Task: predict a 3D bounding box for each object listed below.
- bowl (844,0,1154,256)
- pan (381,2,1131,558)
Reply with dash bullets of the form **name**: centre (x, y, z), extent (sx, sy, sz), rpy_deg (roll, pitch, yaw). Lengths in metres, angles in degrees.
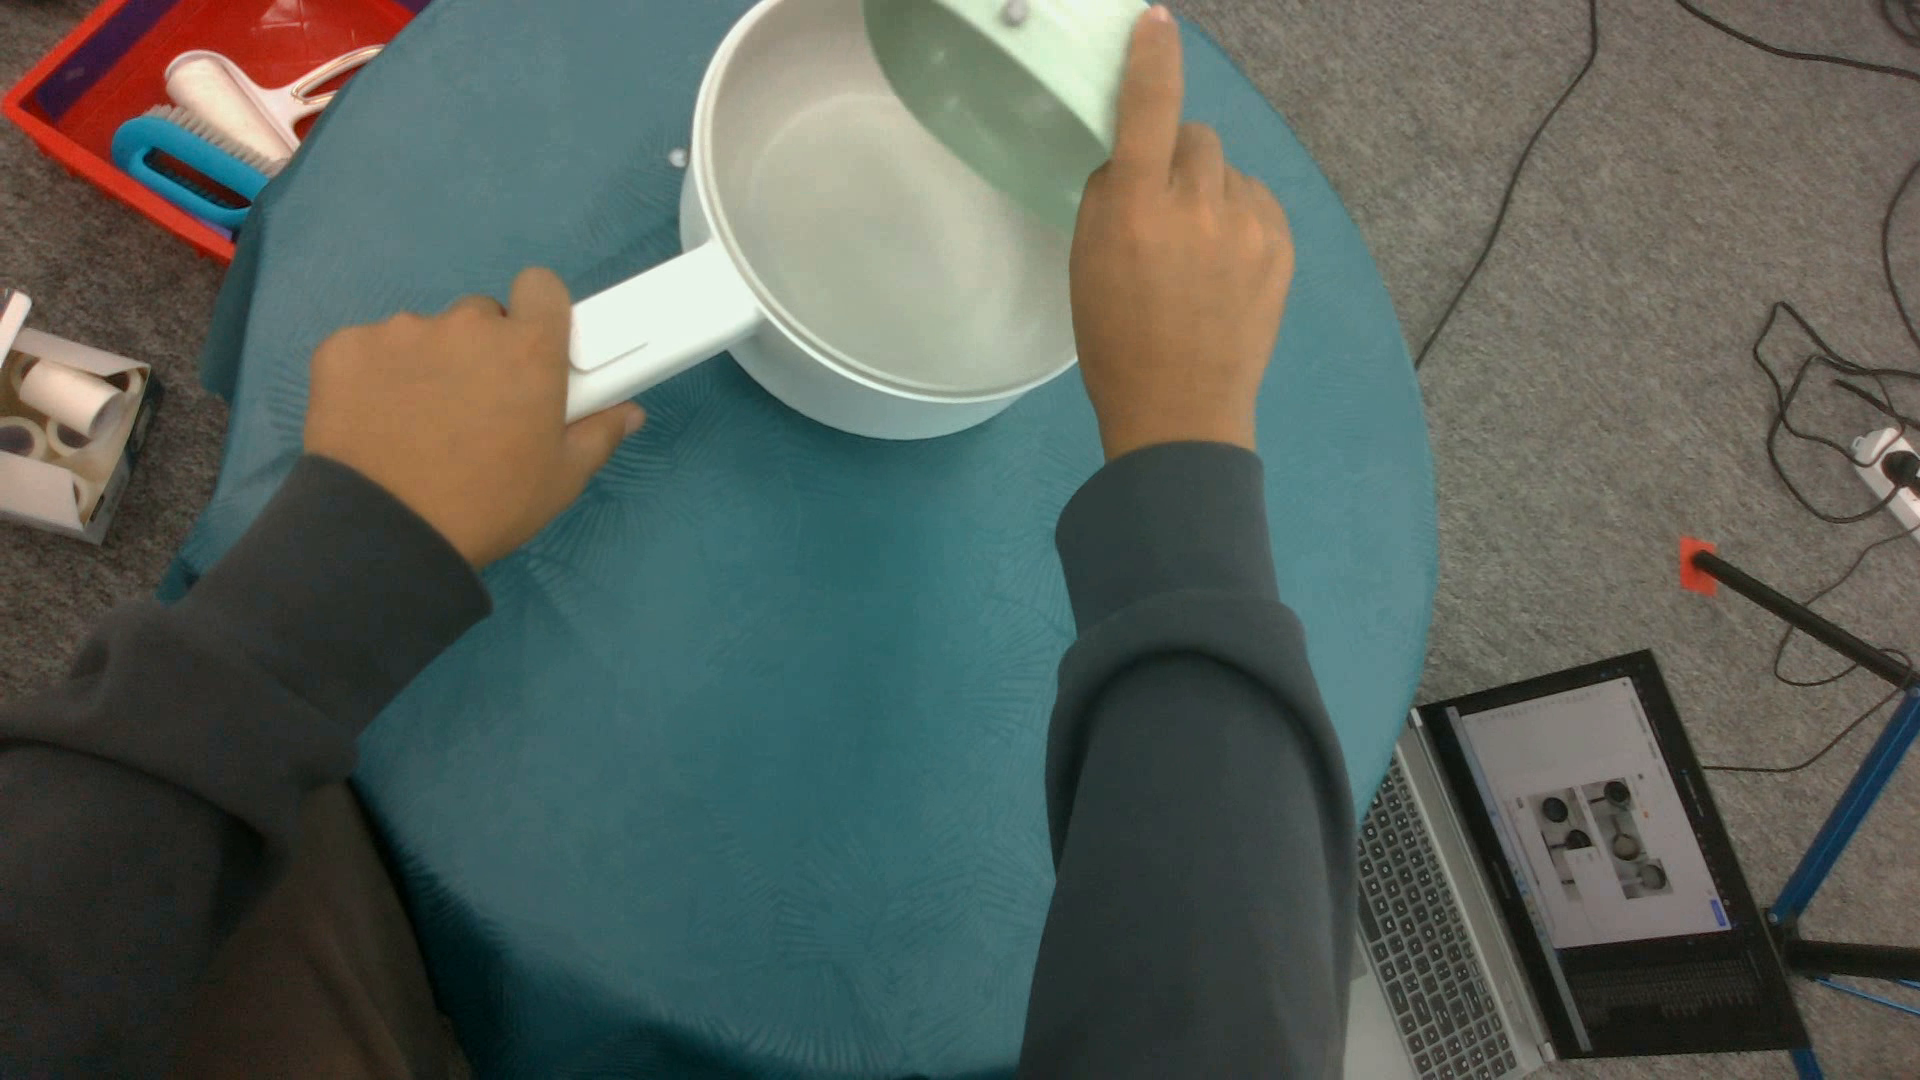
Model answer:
- **bowl**: centre (0.028, -0.182, 0.558), extent (0.151, 0.151, 0.058), rpy_deg (34, 92, -7)
- **pan**: centre (-0.087, -0.097, 0.625), extent (0.356, 0.102, 0.201), rpy_deg (-36, 93, -22)
